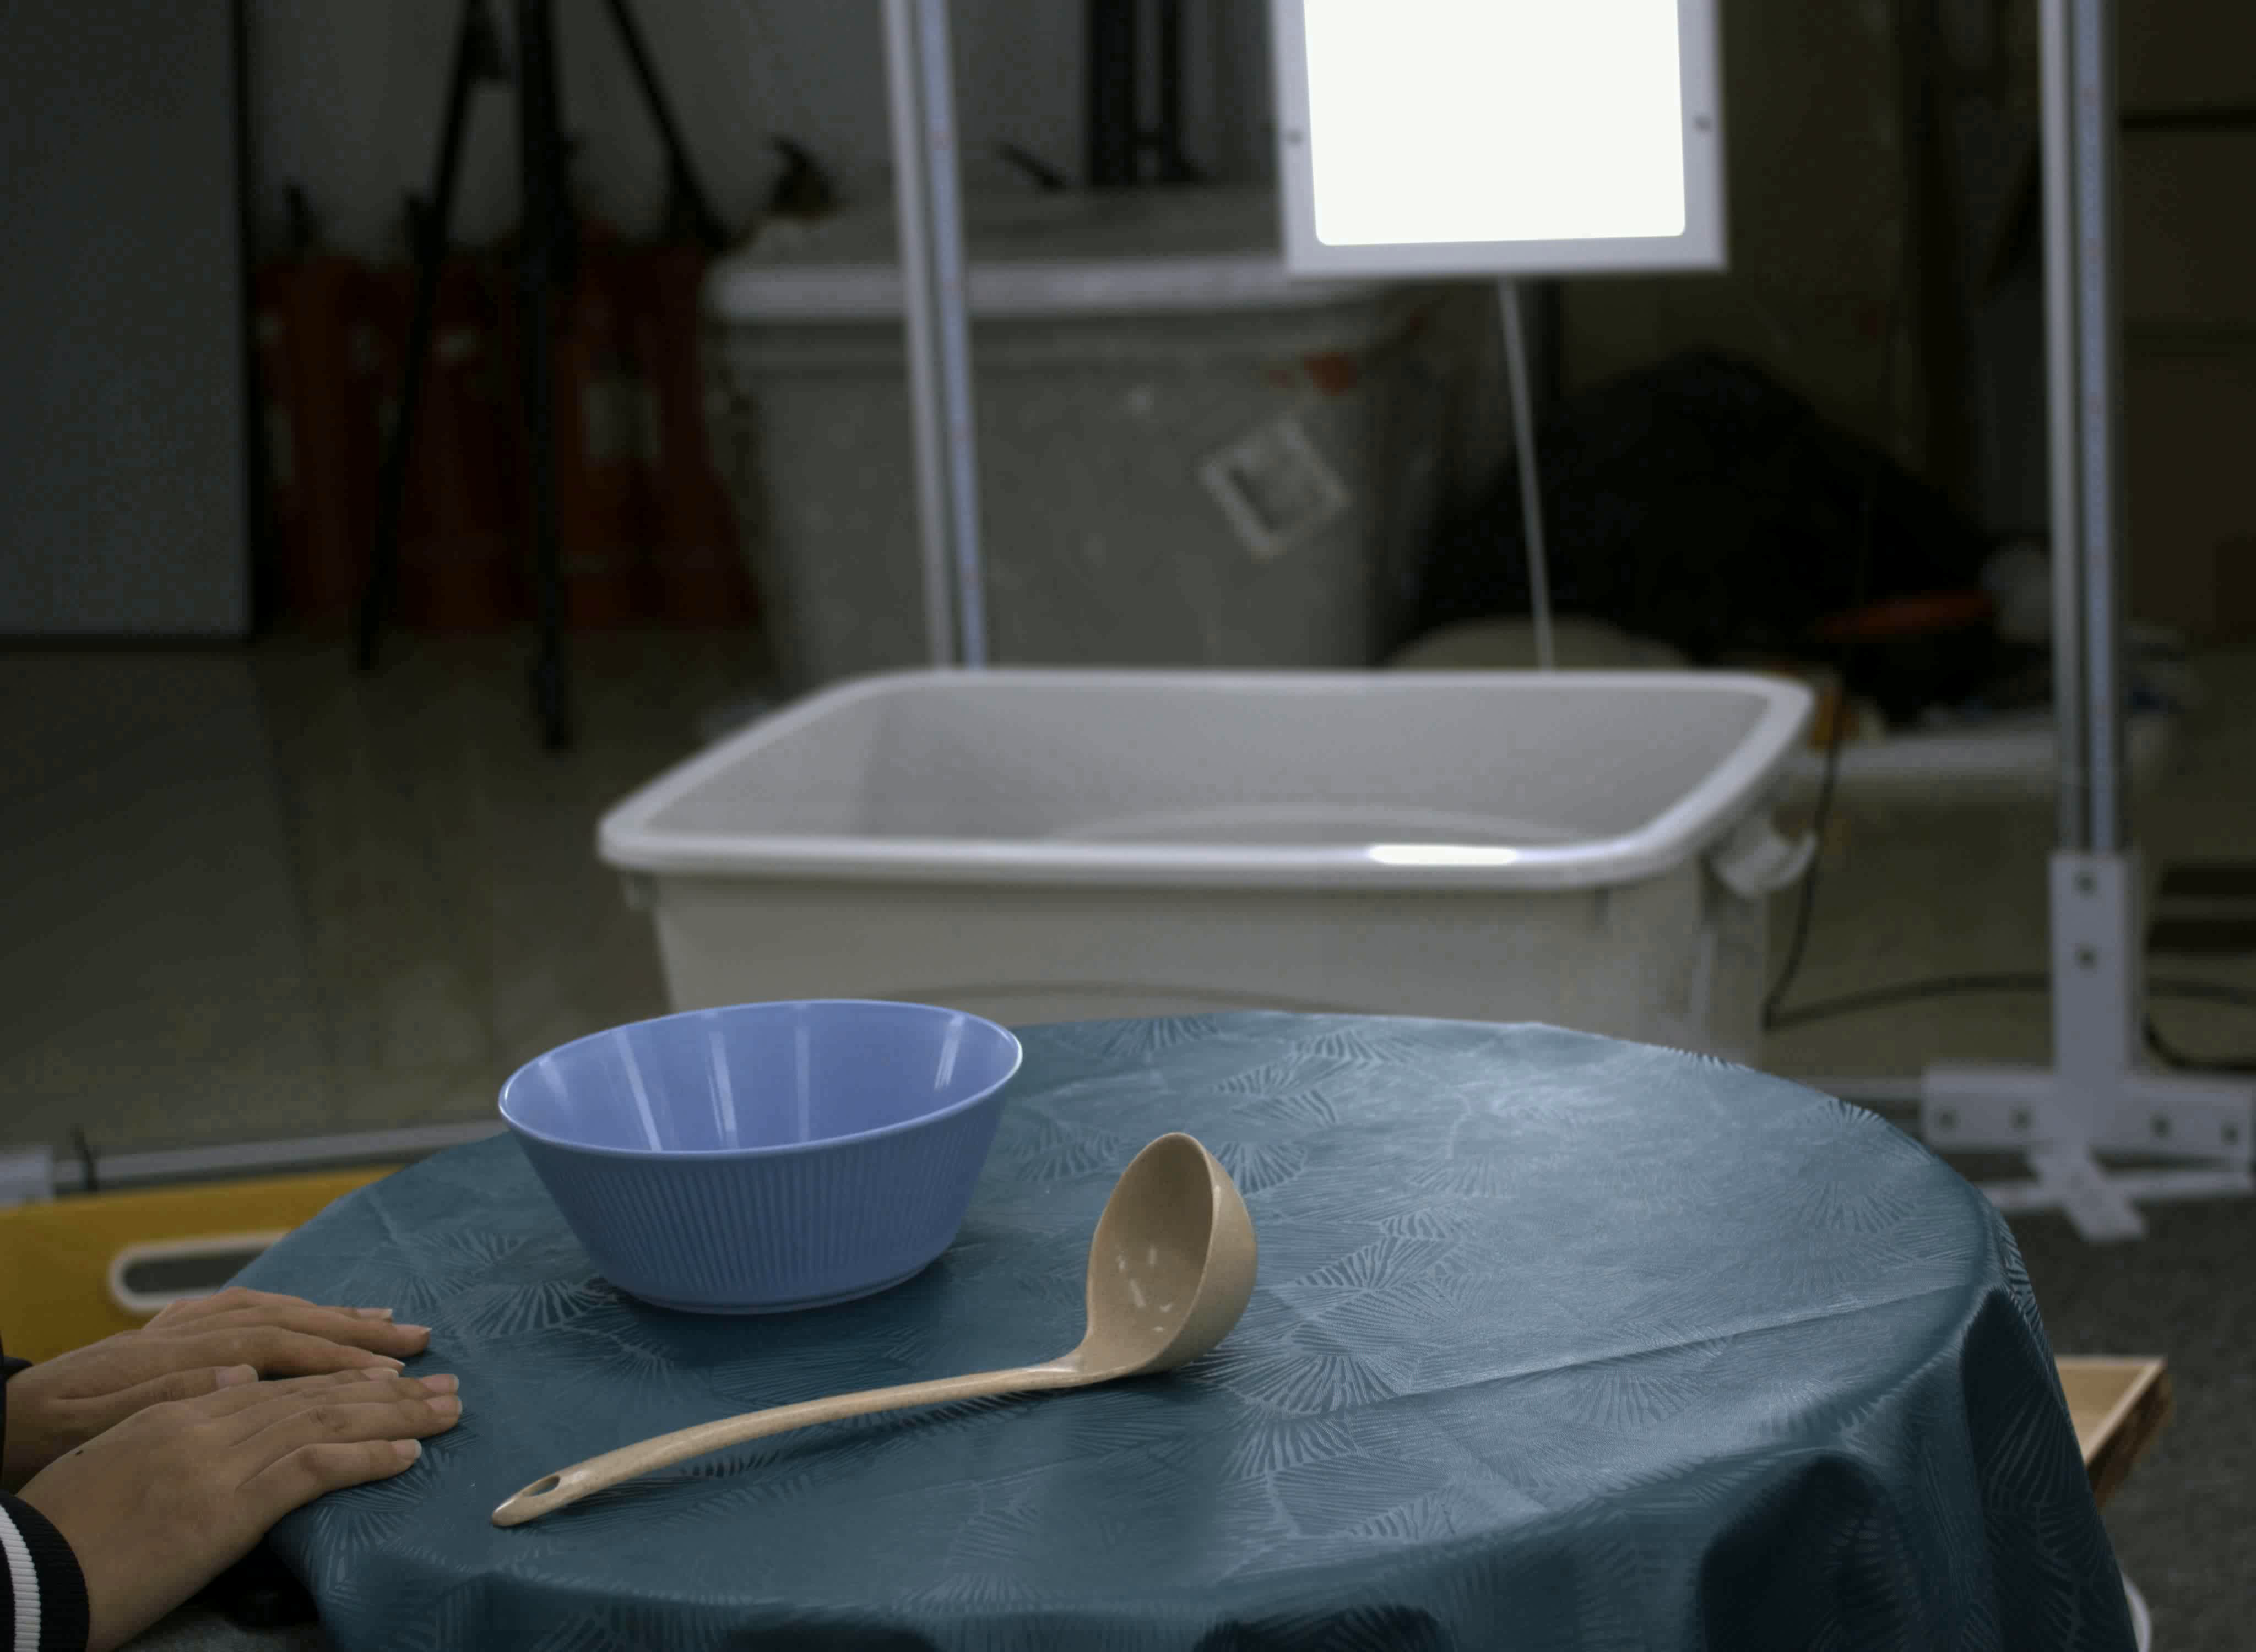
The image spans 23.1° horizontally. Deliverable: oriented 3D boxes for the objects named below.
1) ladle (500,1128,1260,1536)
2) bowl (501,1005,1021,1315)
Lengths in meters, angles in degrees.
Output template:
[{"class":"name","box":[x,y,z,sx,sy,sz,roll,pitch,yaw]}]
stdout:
[{"class":"ladle","box":[-0.077,0.151,1.675,0.249,0.073,0.073,-12,15,-25]},{"class":"bowl","box":[-0.120,0.114,1.846,0.175,0.070,0.176,-5,13,0]}]
